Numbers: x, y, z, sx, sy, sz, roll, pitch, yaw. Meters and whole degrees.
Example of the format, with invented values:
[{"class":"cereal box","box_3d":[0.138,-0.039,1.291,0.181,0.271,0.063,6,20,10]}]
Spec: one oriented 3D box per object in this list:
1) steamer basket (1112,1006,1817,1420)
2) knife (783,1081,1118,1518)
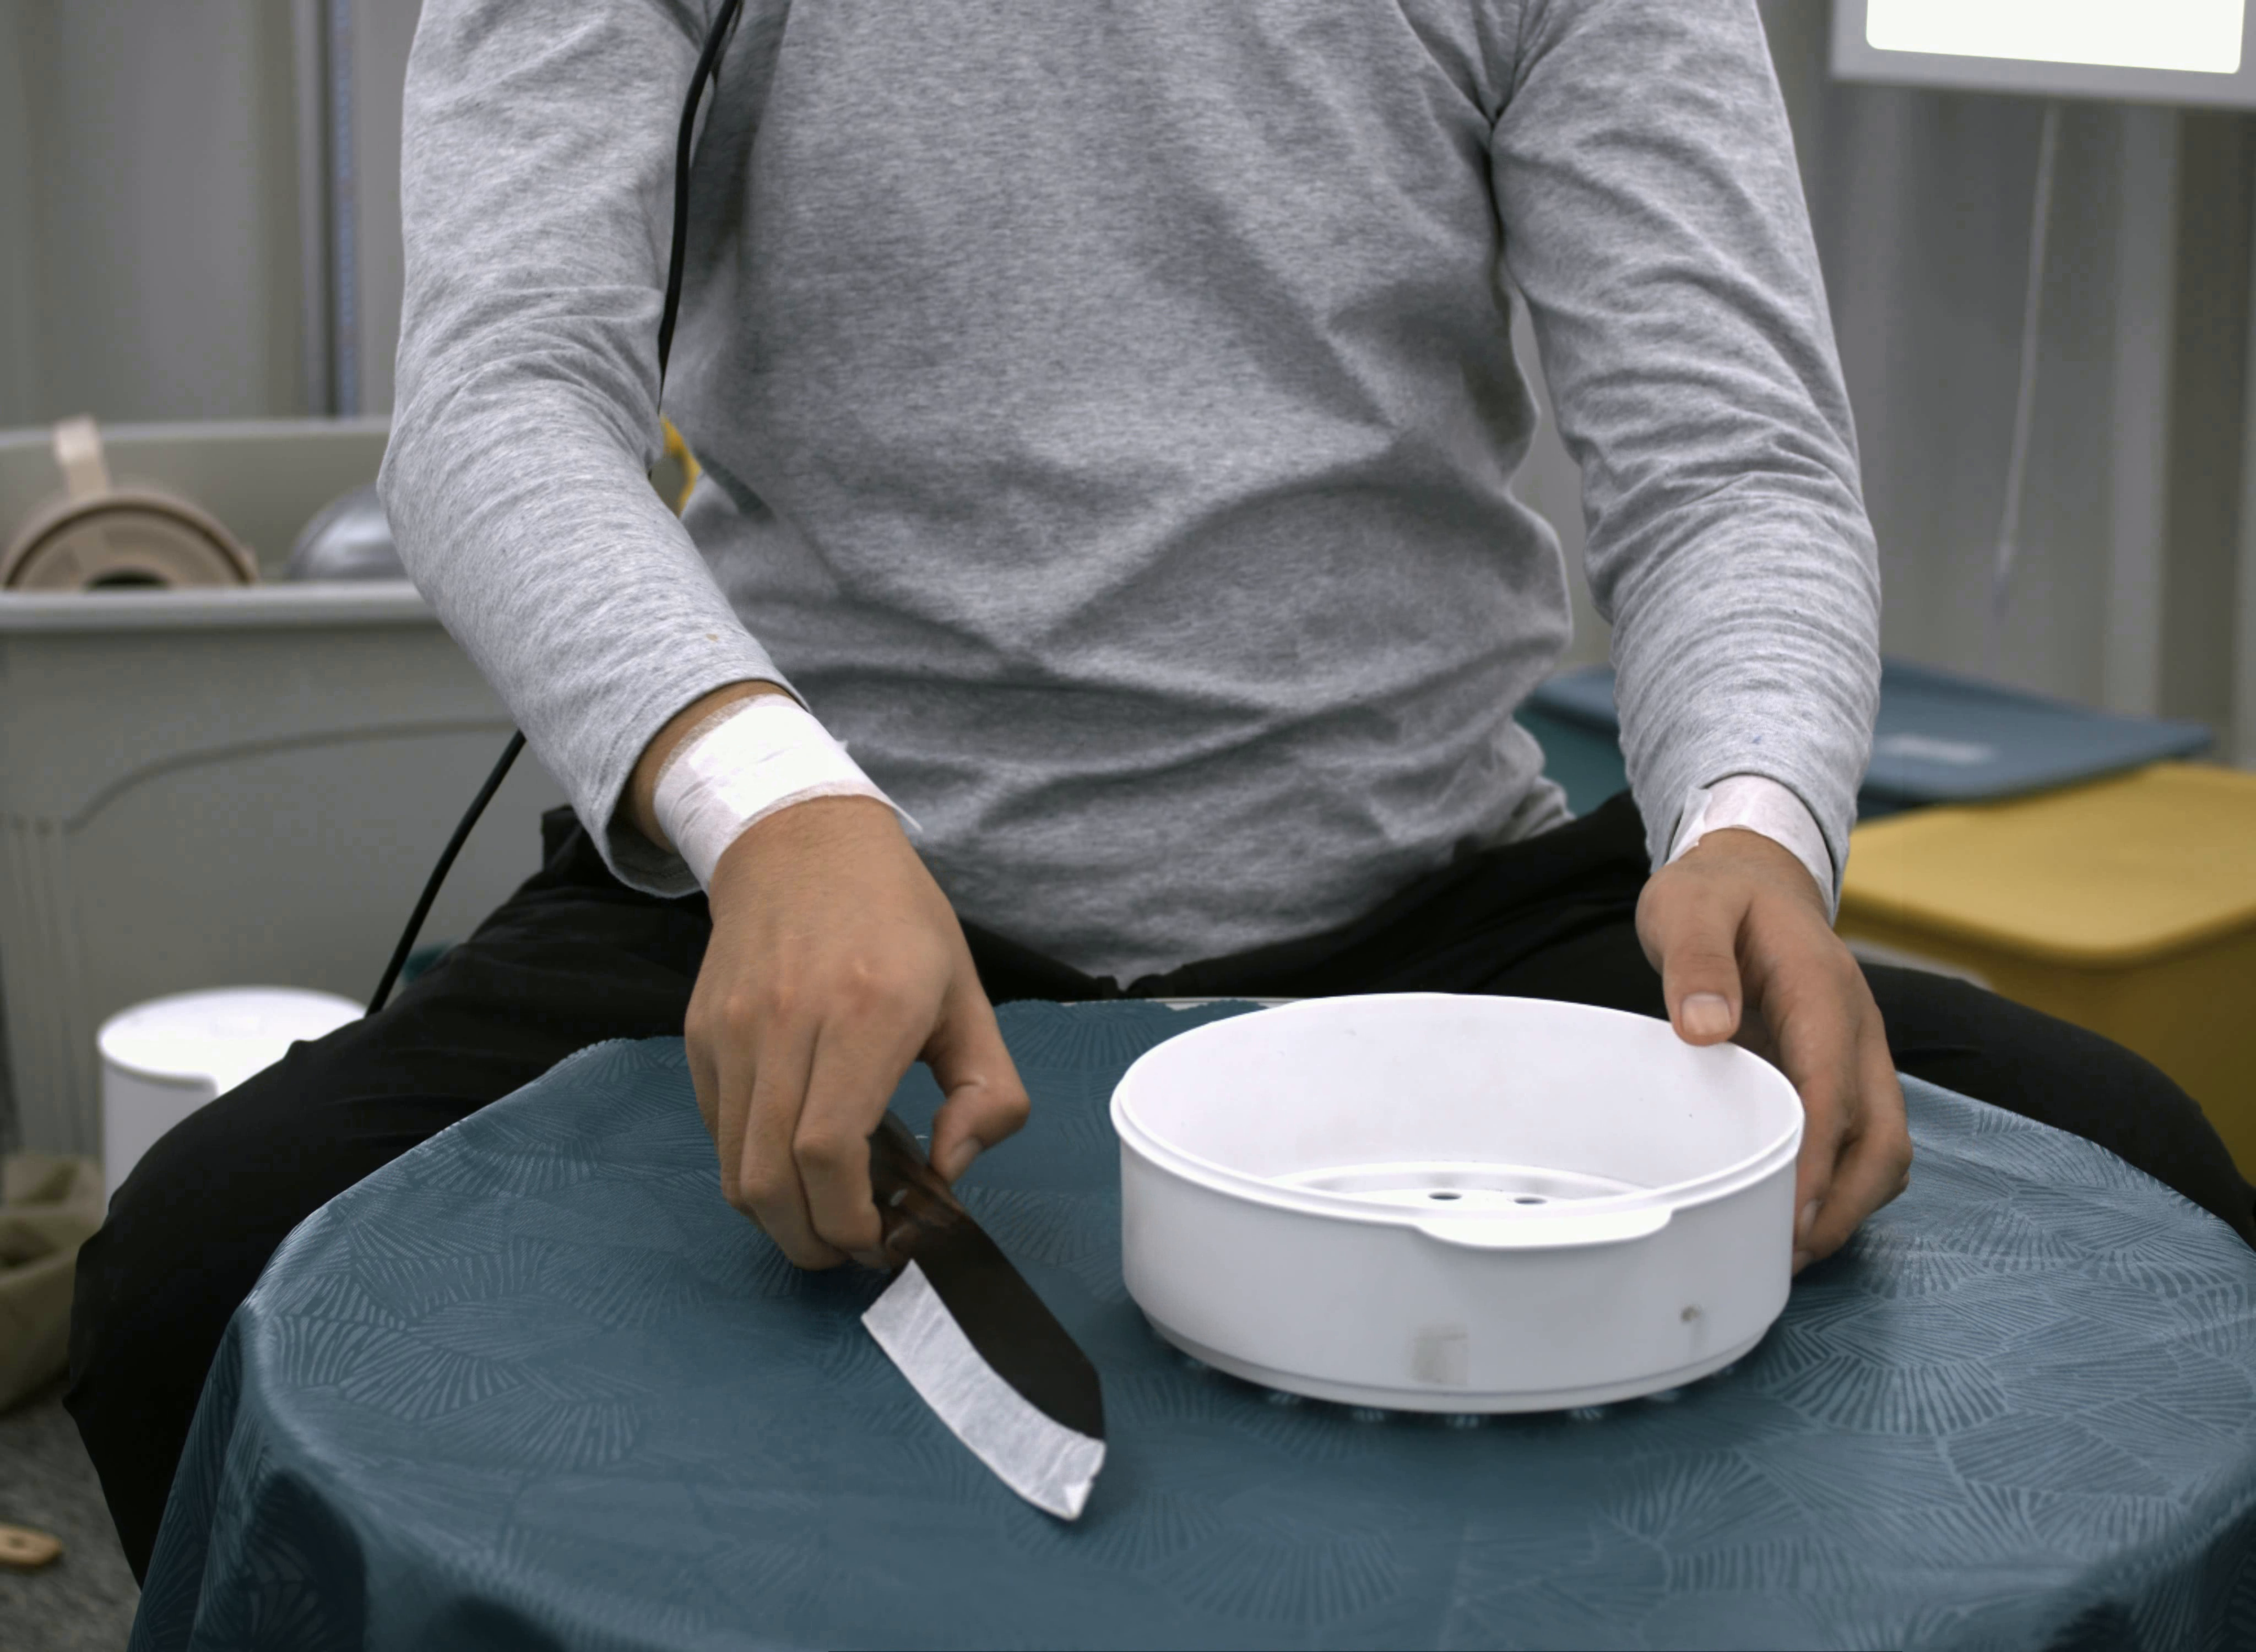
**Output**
[{"class":"steamer basket","box_3d":[0.095,0.110,1.512,0.202,0.070,0.228,-2,15,-11]},{"class":"knife","box_3d":[-0.052,0.131,1.489,0.020,0.050,0.286,43,1,-26]}]
